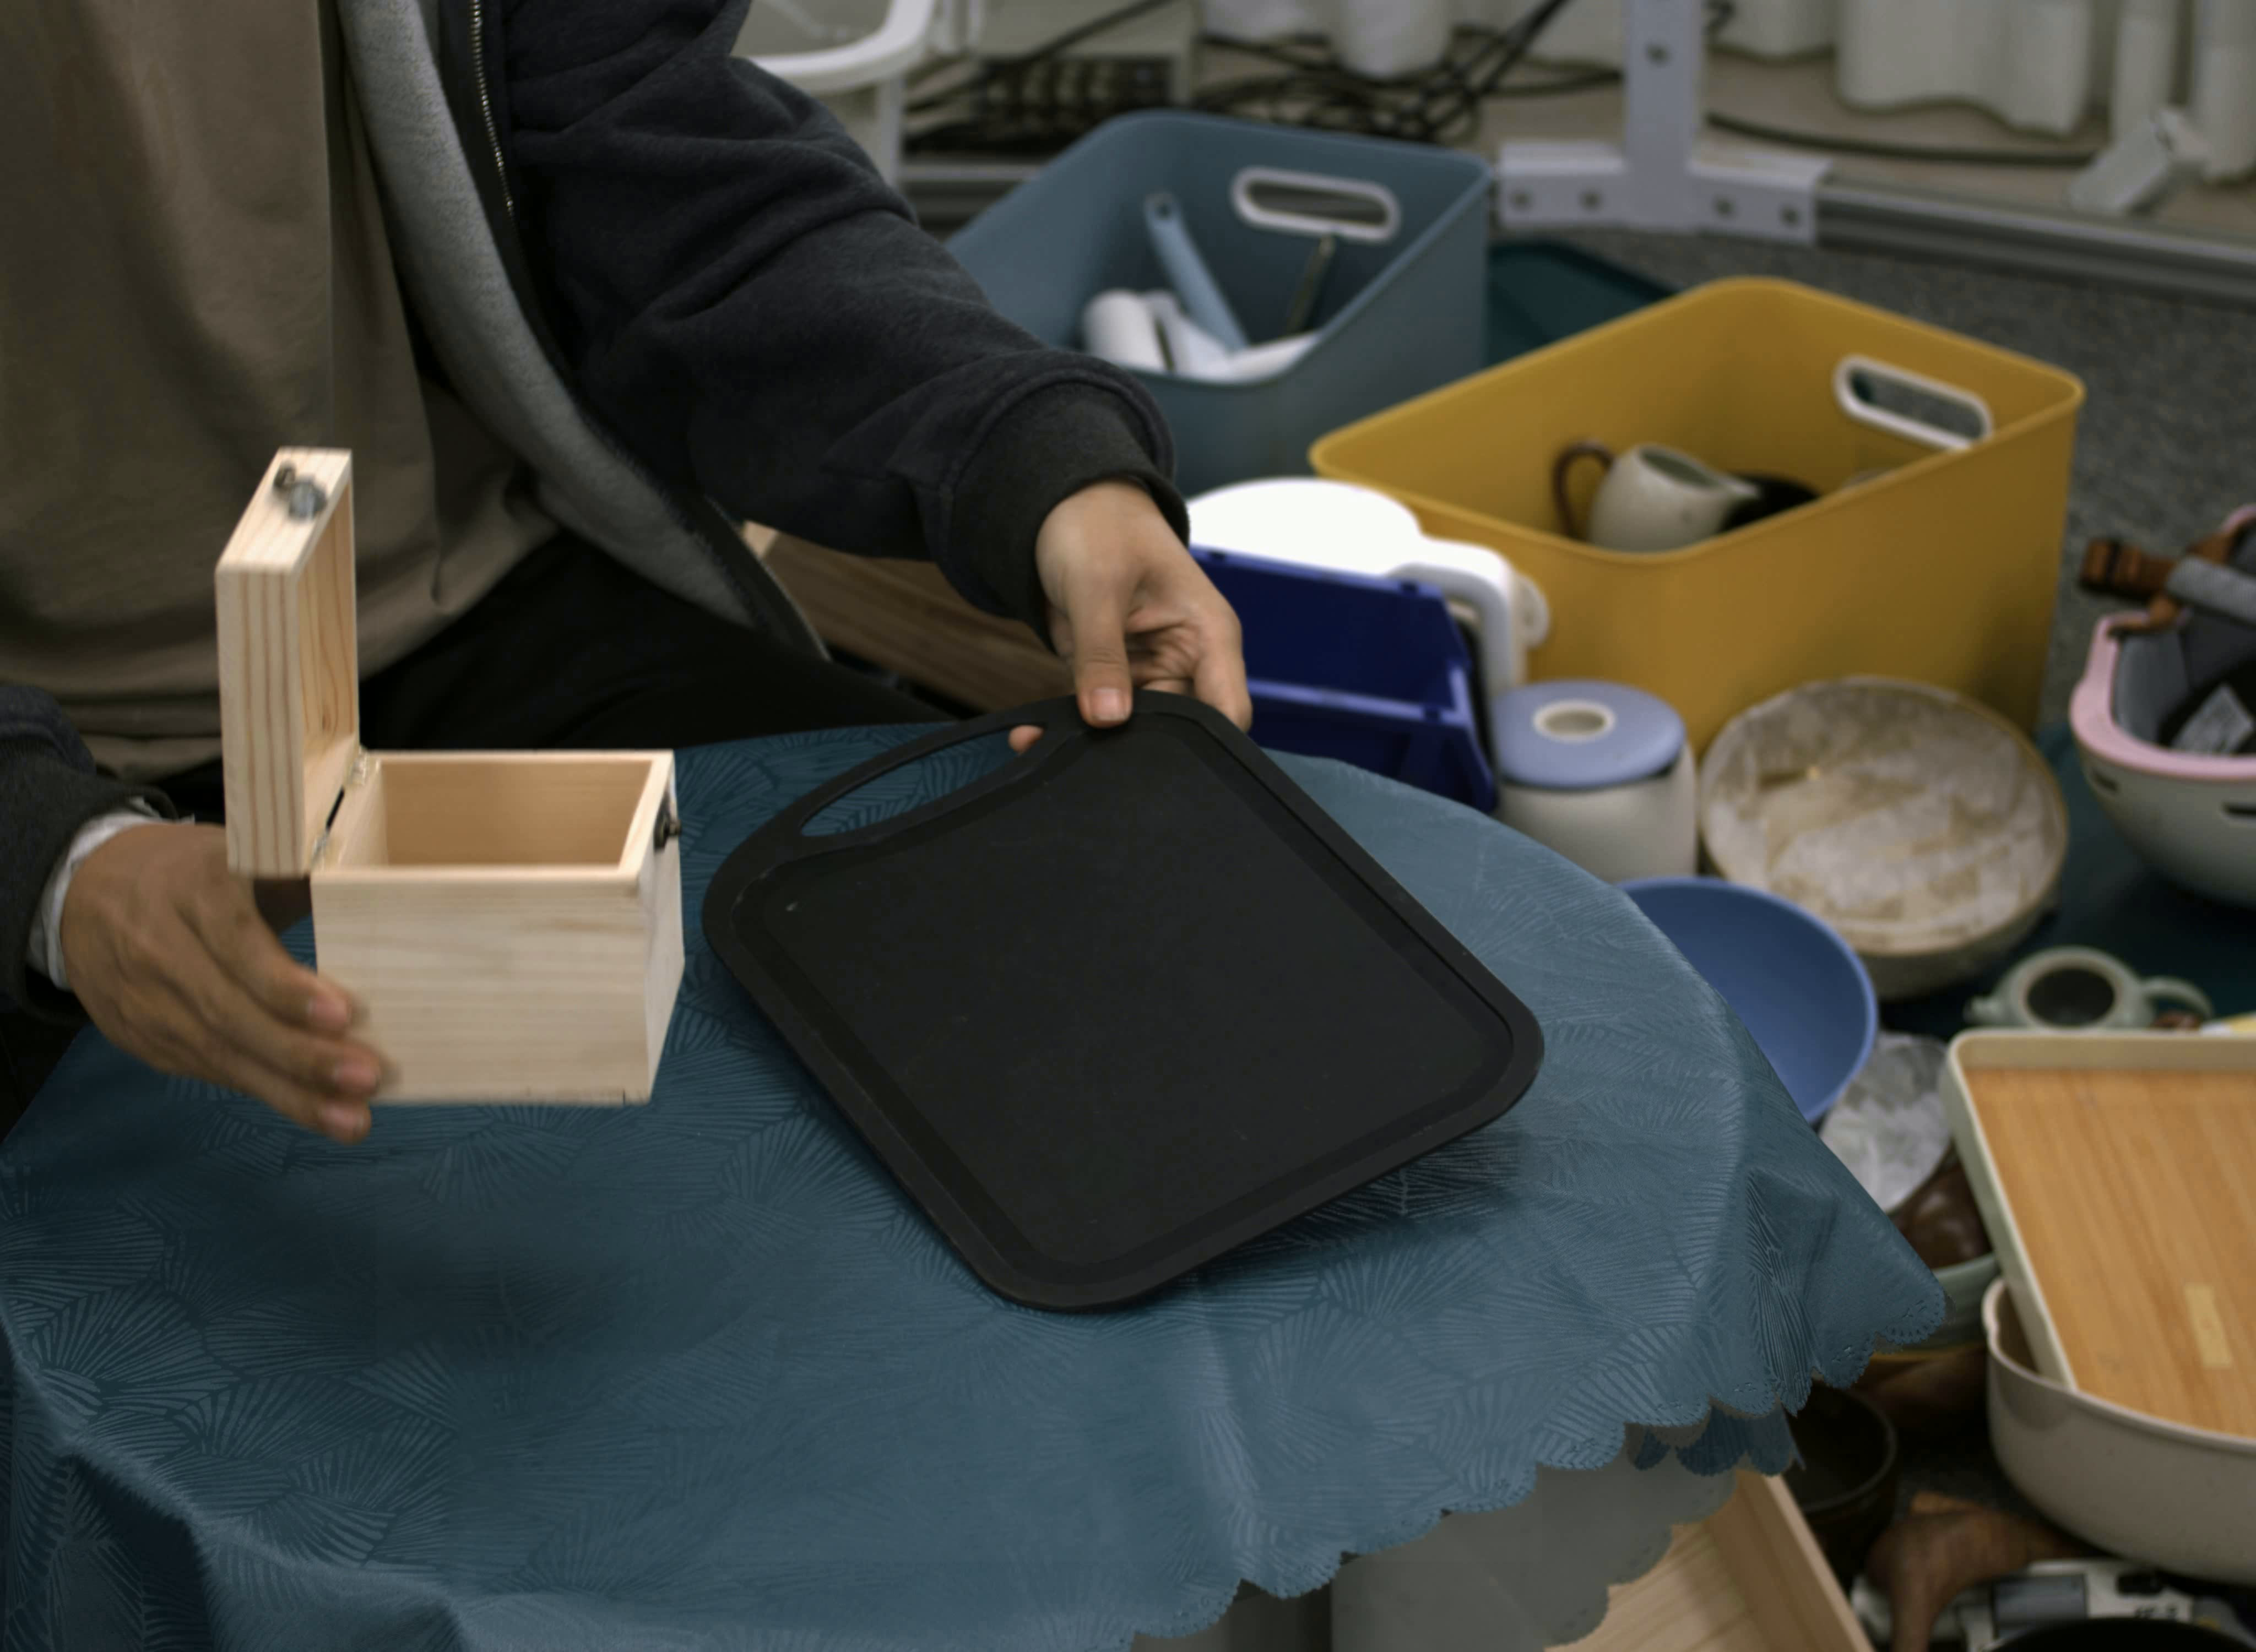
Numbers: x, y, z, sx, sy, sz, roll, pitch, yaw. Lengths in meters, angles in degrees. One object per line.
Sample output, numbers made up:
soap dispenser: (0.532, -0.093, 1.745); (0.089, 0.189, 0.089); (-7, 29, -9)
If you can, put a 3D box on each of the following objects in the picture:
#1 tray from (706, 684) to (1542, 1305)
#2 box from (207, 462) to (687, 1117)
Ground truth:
tray: (-0.012, 0.047, 1.937); (0.212, 0.009, 0.328); (-24, 38, -16)
box: (-0.207, -0.013, 1.754); (0.133, 0.183, 0.104); (-2, 22, 2)
